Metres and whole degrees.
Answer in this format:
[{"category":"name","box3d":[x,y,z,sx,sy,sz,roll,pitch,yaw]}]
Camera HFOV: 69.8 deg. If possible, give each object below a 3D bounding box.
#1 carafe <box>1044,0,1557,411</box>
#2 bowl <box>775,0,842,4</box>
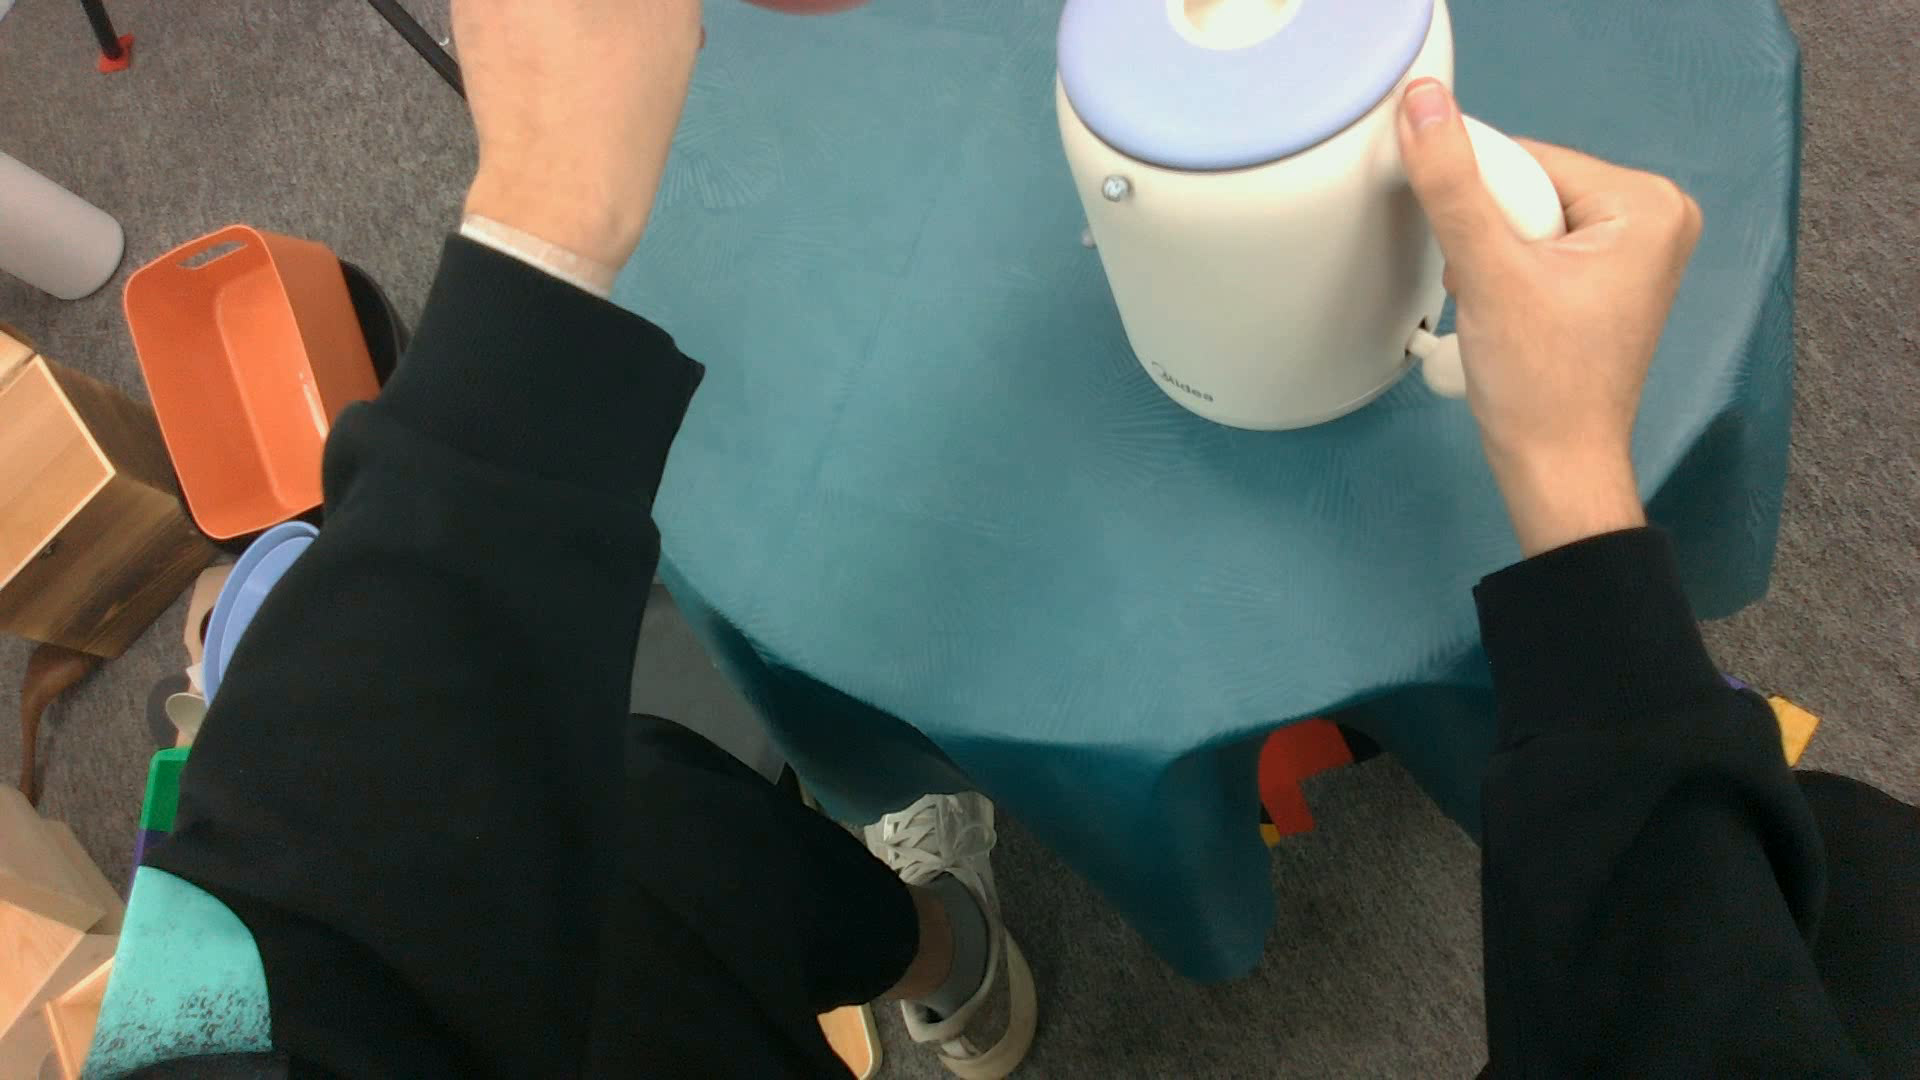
[{"category":"carafe","box3d":[0.126,-0.130,0.506,0.191,0.182,0.132,33,81,25]},{"category":"bowl","box3d":[-0.060,-0.251,0.471,0.148,0.104,0.148,0,89,-11]}]
